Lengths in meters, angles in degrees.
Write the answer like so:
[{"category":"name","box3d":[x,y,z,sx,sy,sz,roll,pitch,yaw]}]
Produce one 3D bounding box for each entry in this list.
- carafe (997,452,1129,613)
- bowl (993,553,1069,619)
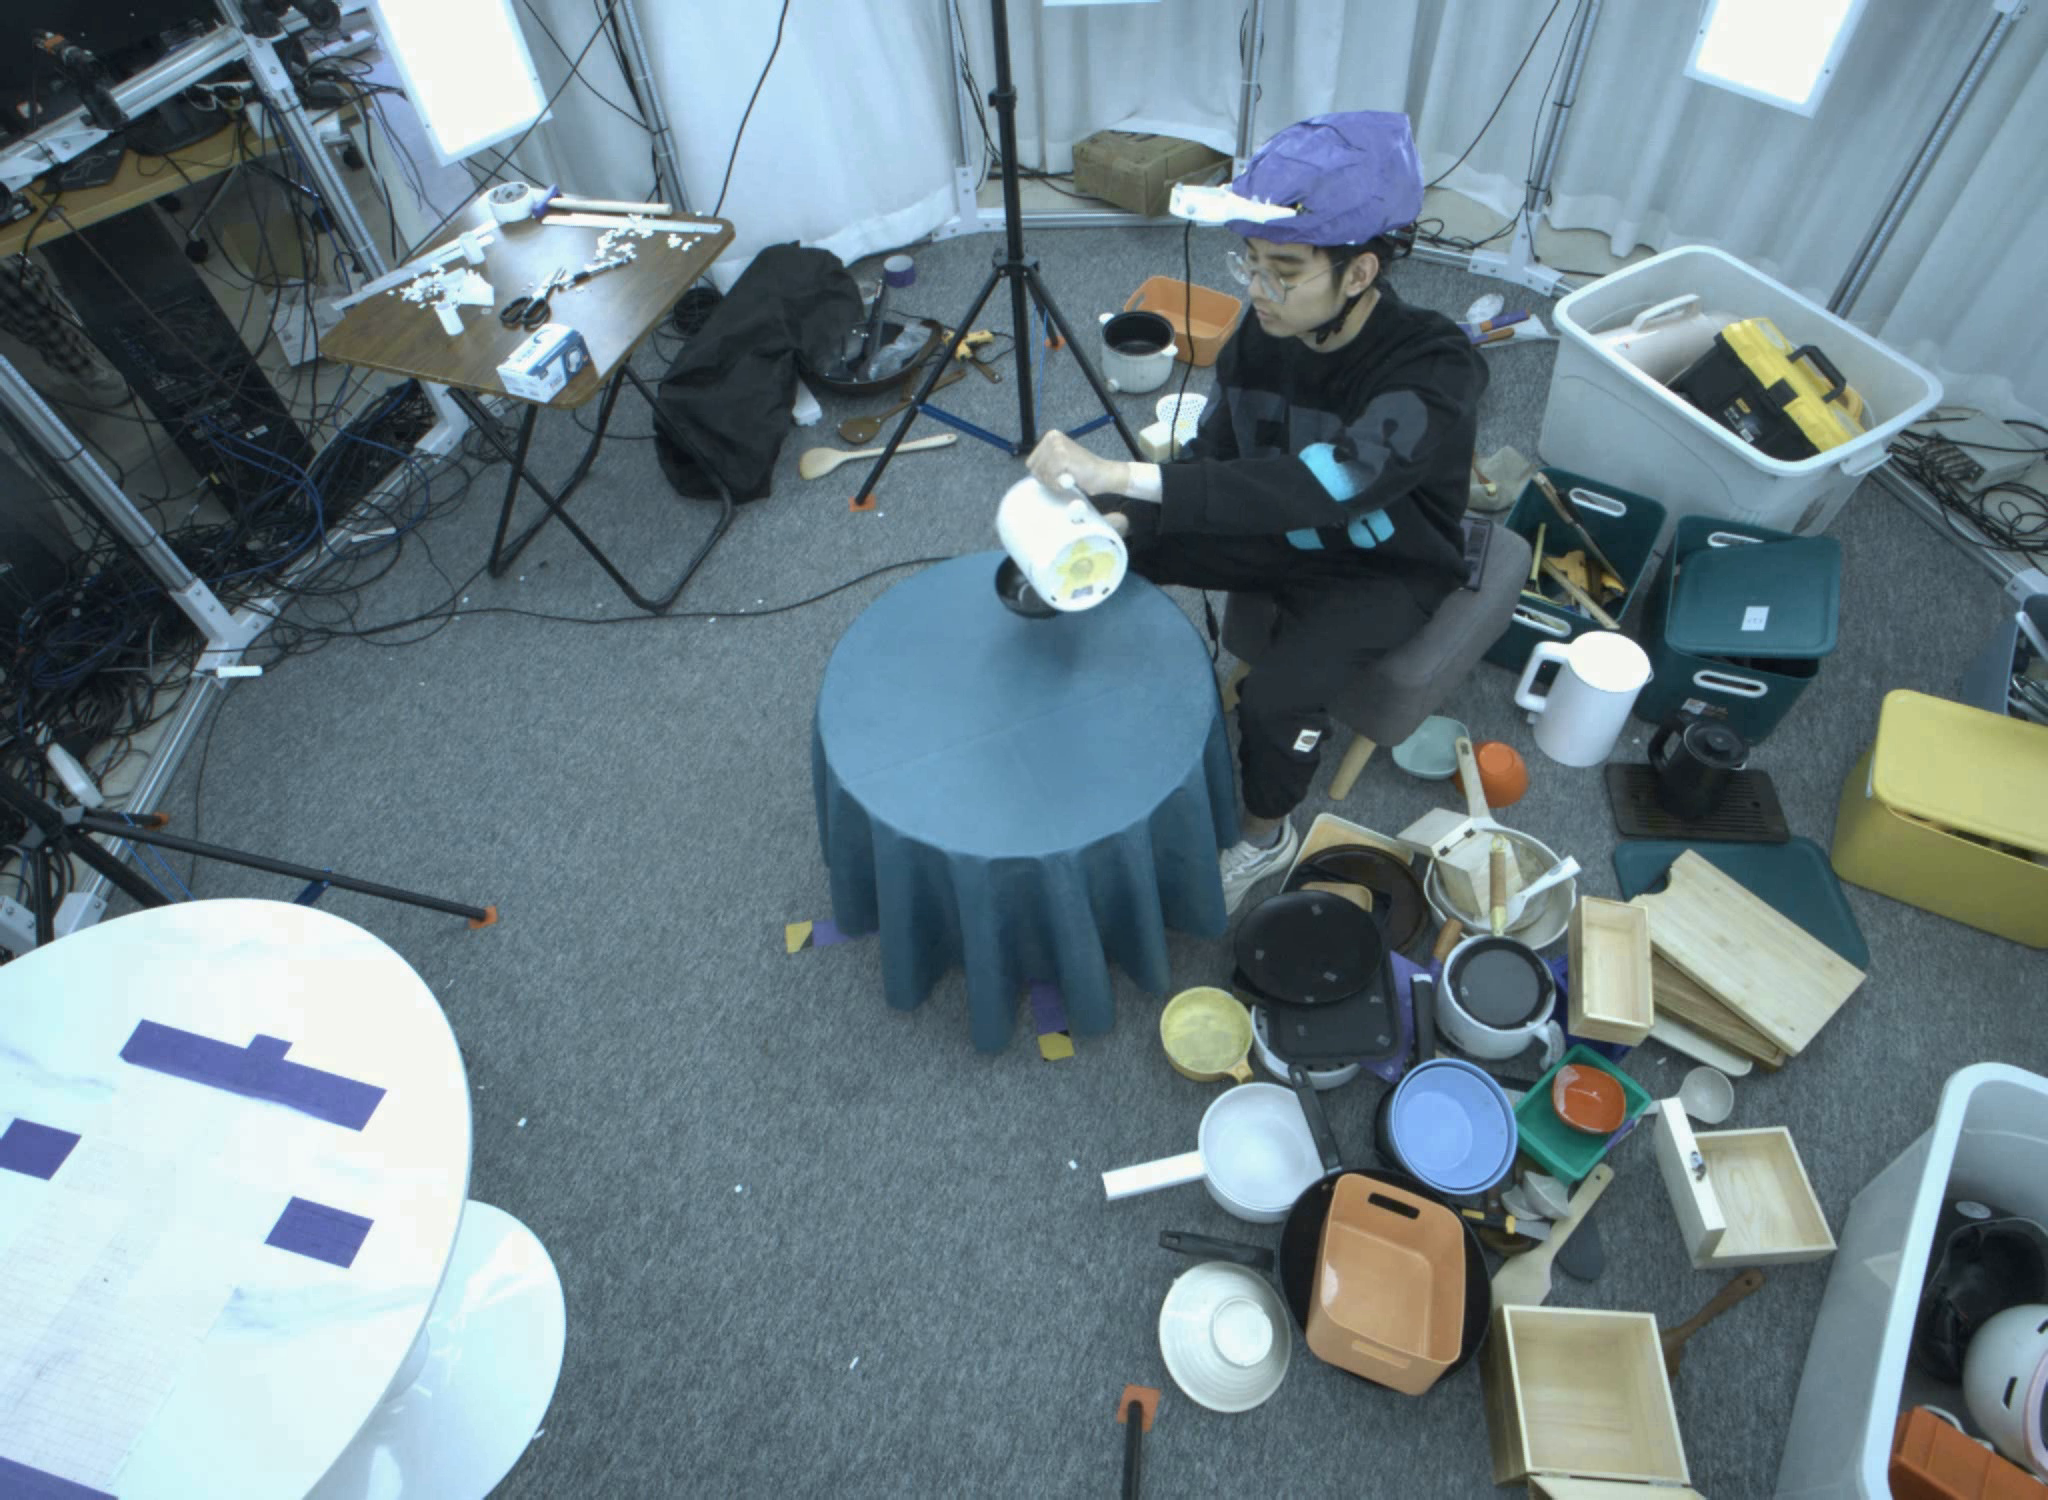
[{"category":"carafe","box3d":[0.050,-0.301,1.645,0.134,0.193,0.179,-16,48,-19]},{"category":"bowl","box3d":[0.025,-0.246,1.851,0.140,0.050,0.138,-1,57,3]}]
